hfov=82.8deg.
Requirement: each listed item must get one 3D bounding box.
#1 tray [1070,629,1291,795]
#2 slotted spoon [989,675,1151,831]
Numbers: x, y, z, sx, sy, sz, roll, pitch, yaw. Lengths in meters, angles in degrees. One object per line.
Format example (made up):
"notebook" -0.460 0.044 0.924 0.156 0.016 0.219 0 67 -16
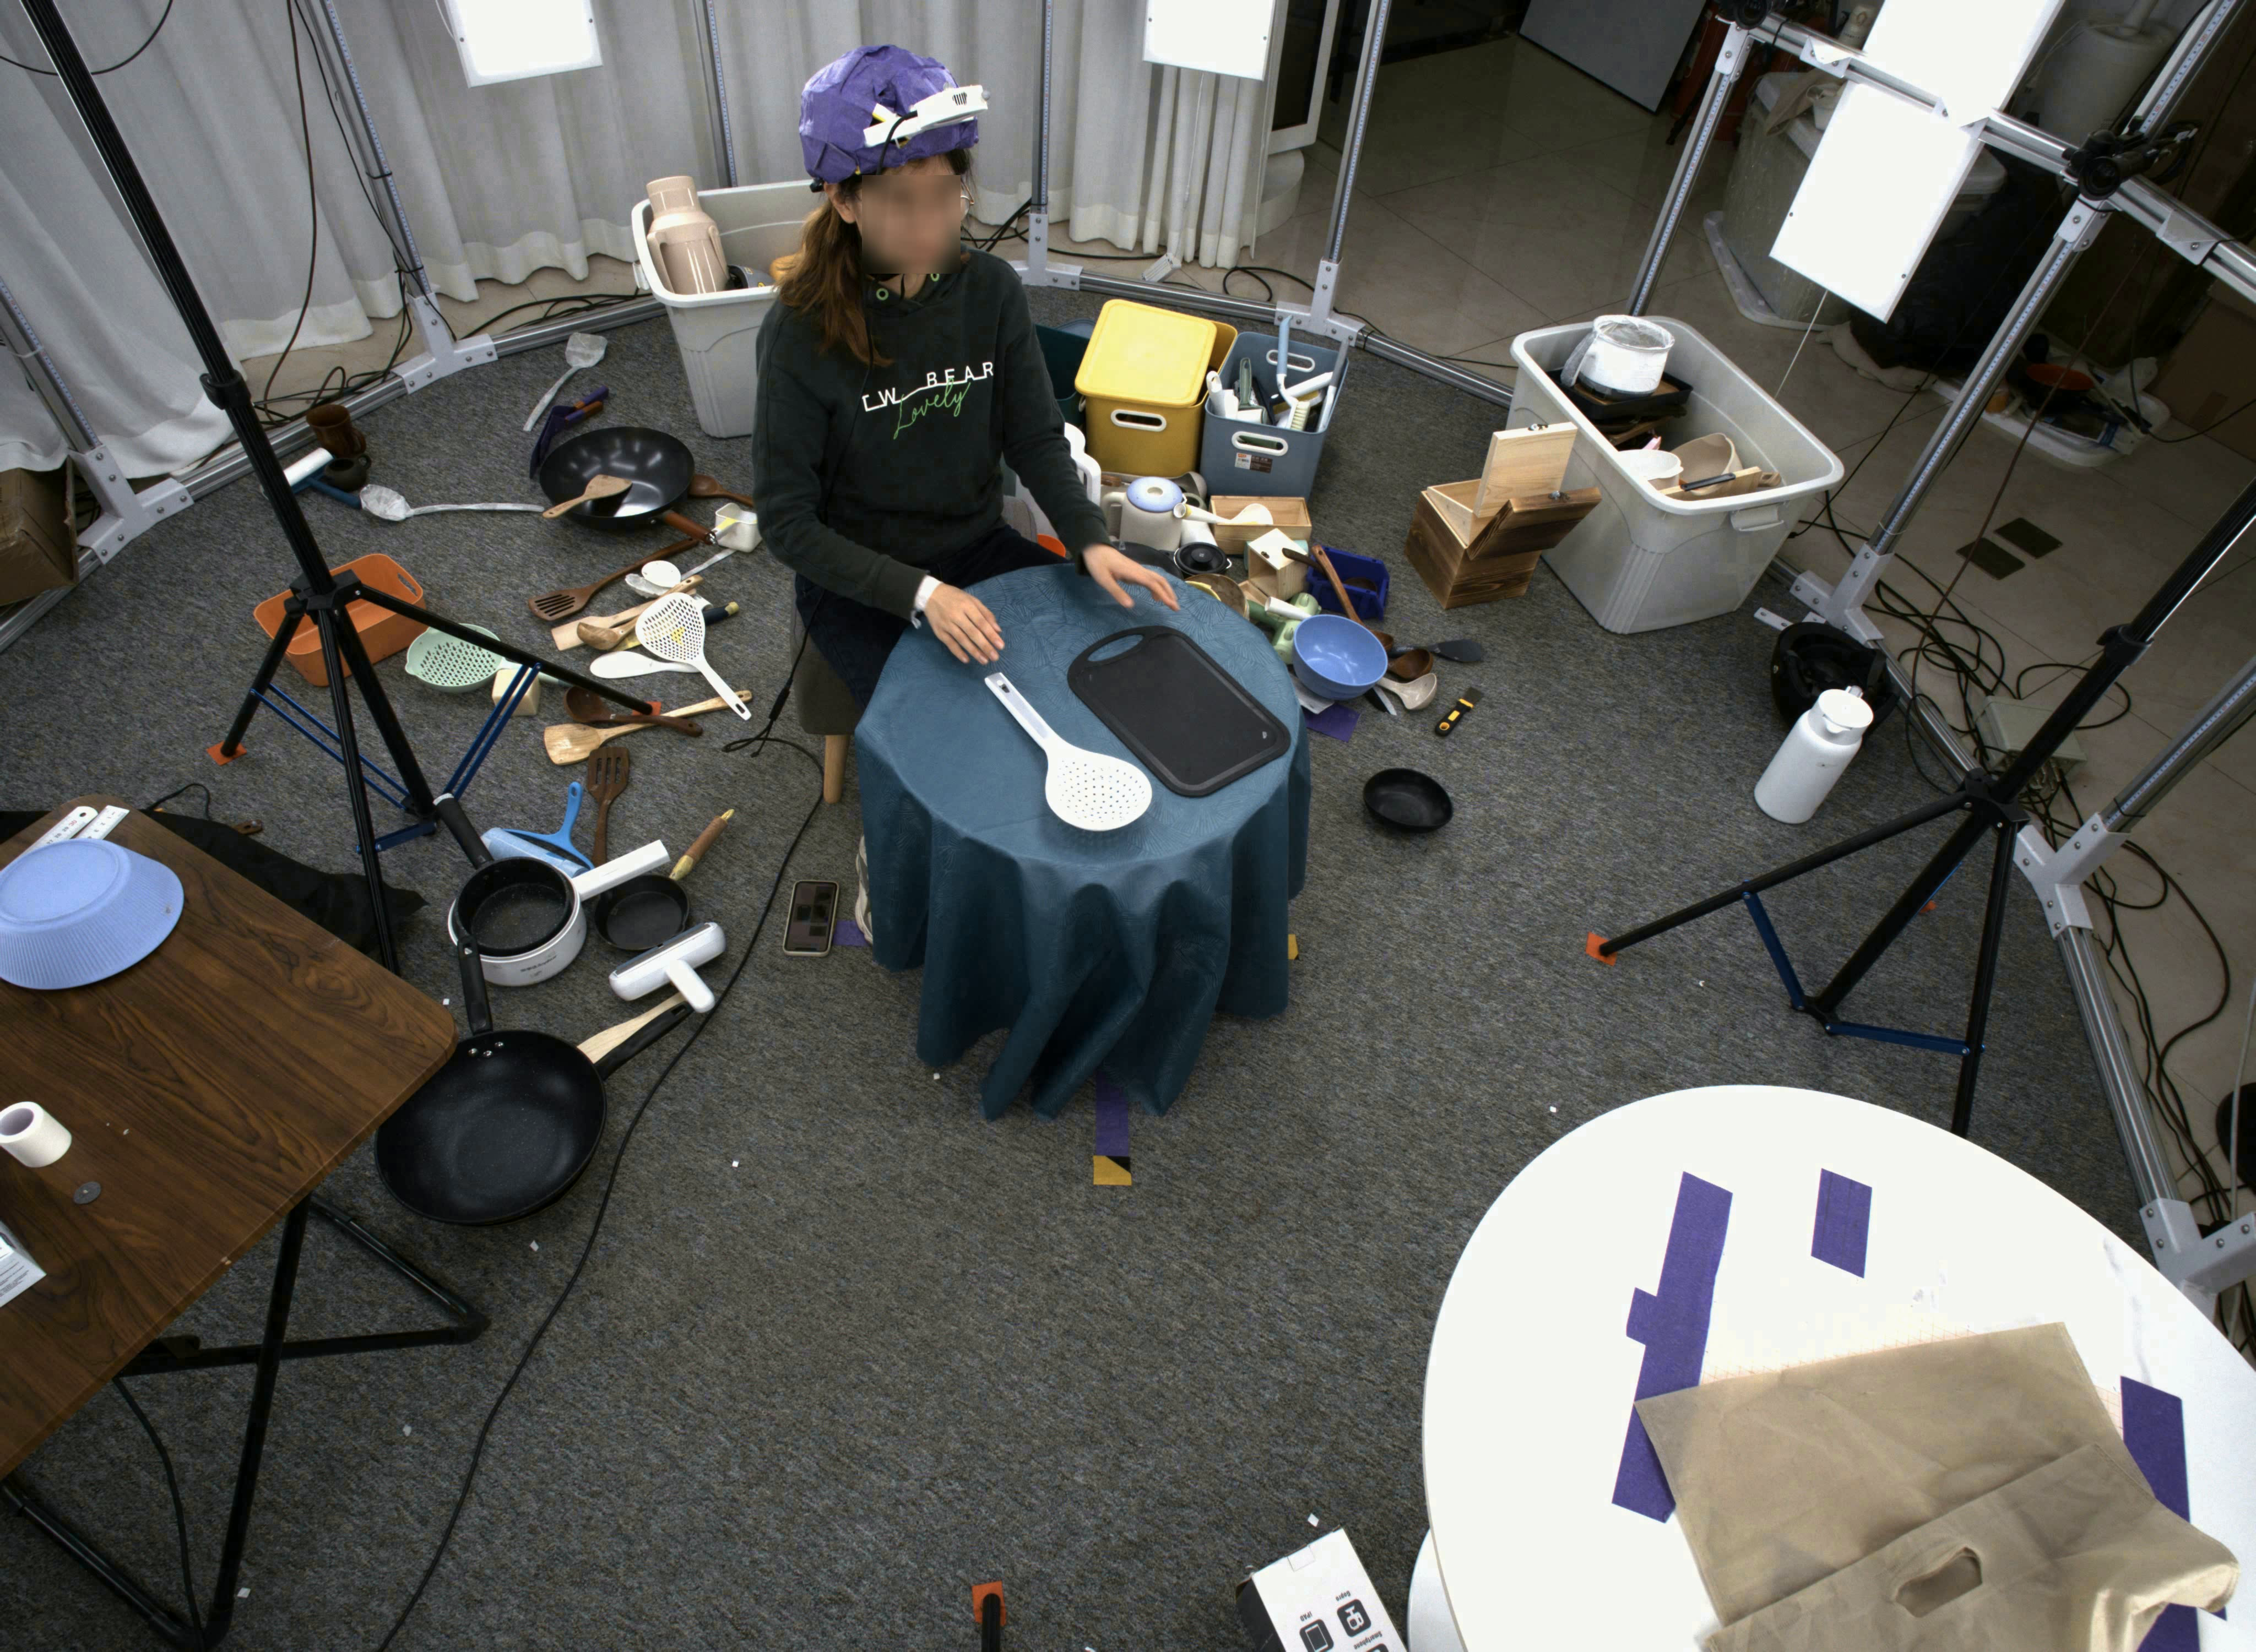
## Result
"tray" 0.067 -0.175 1.836 0.212 0.009 0.331 -27 55 -25
"slotted spoon" -0.096 -0.104 1.739 0.136 0.044 0.357 -22 53 -24
